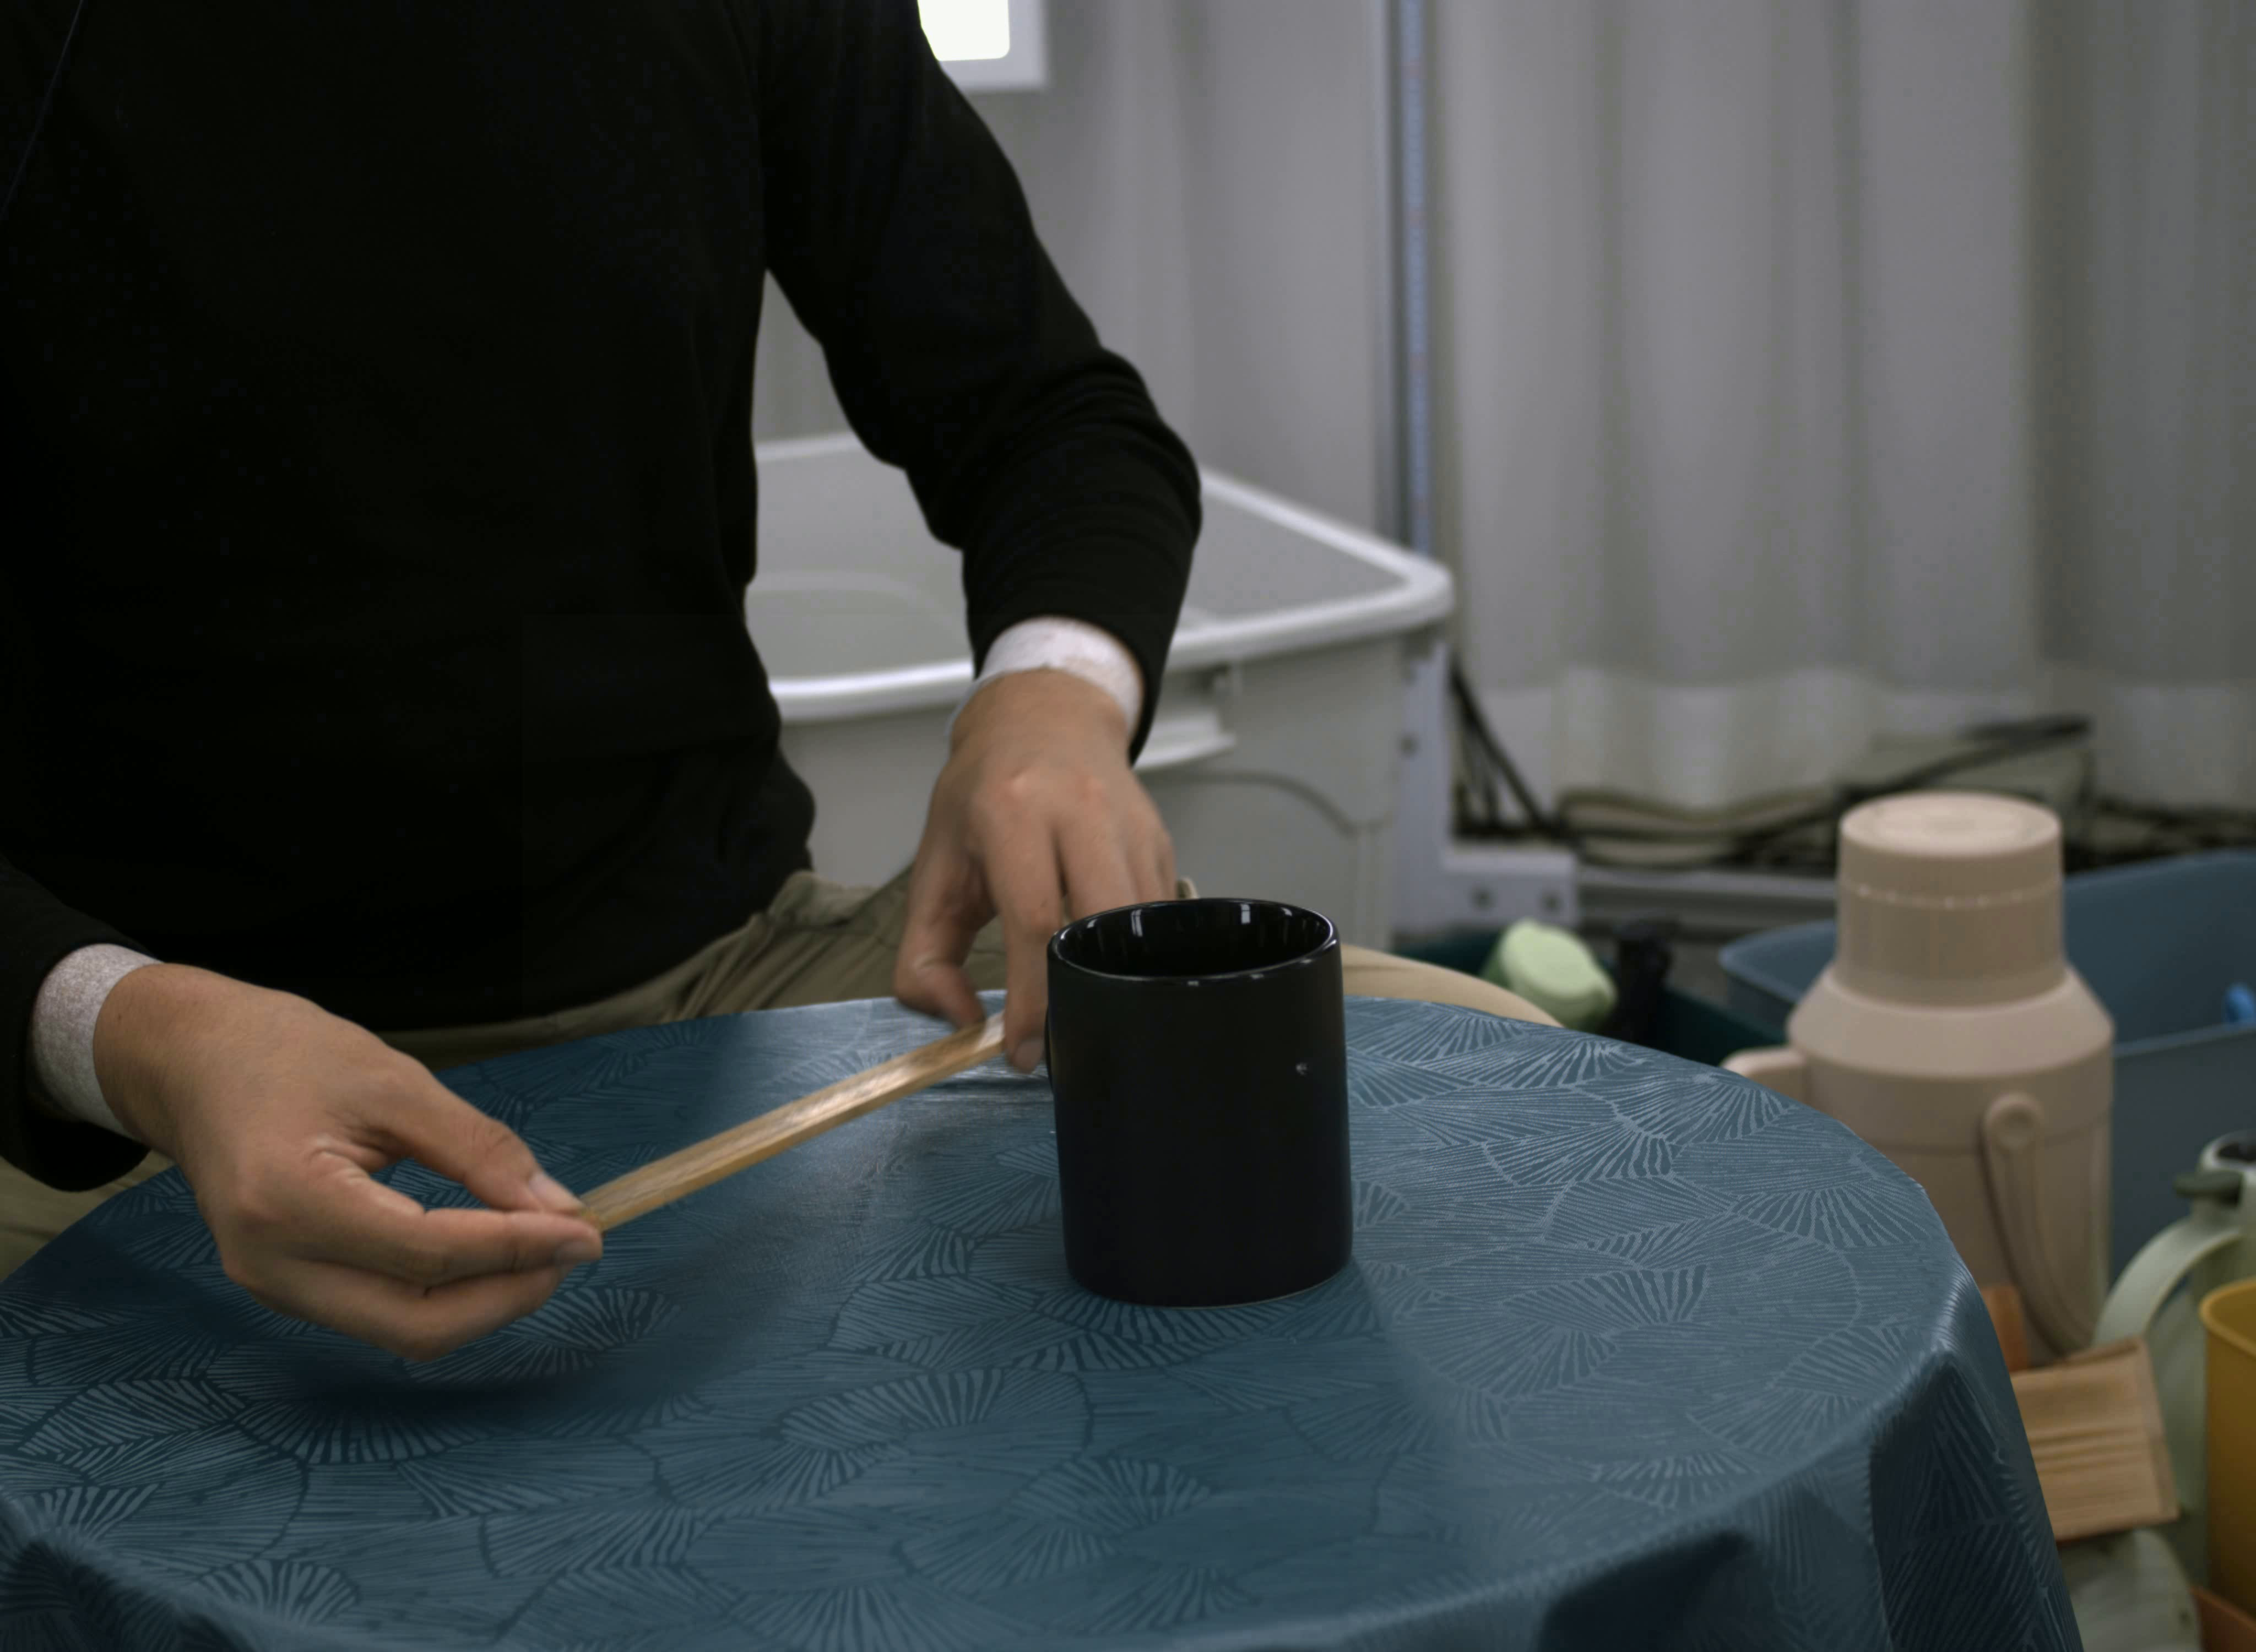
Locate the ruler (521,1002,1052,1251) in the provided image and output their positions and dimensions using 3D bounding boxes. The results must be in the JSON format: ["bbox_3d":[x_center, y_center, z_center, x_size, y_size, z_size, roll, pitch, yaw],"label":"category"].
[{"bbox_3d":[-0.094,0.089,1.698,0.027,0.022,0.332,4,11,24],"label":"ruler"}]

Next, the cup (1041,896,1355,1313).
[{"bbox_3d":[0.012,0.079,1.649,0.088,0.105,0.124,-13,16,-29],"label":"cup"}]
